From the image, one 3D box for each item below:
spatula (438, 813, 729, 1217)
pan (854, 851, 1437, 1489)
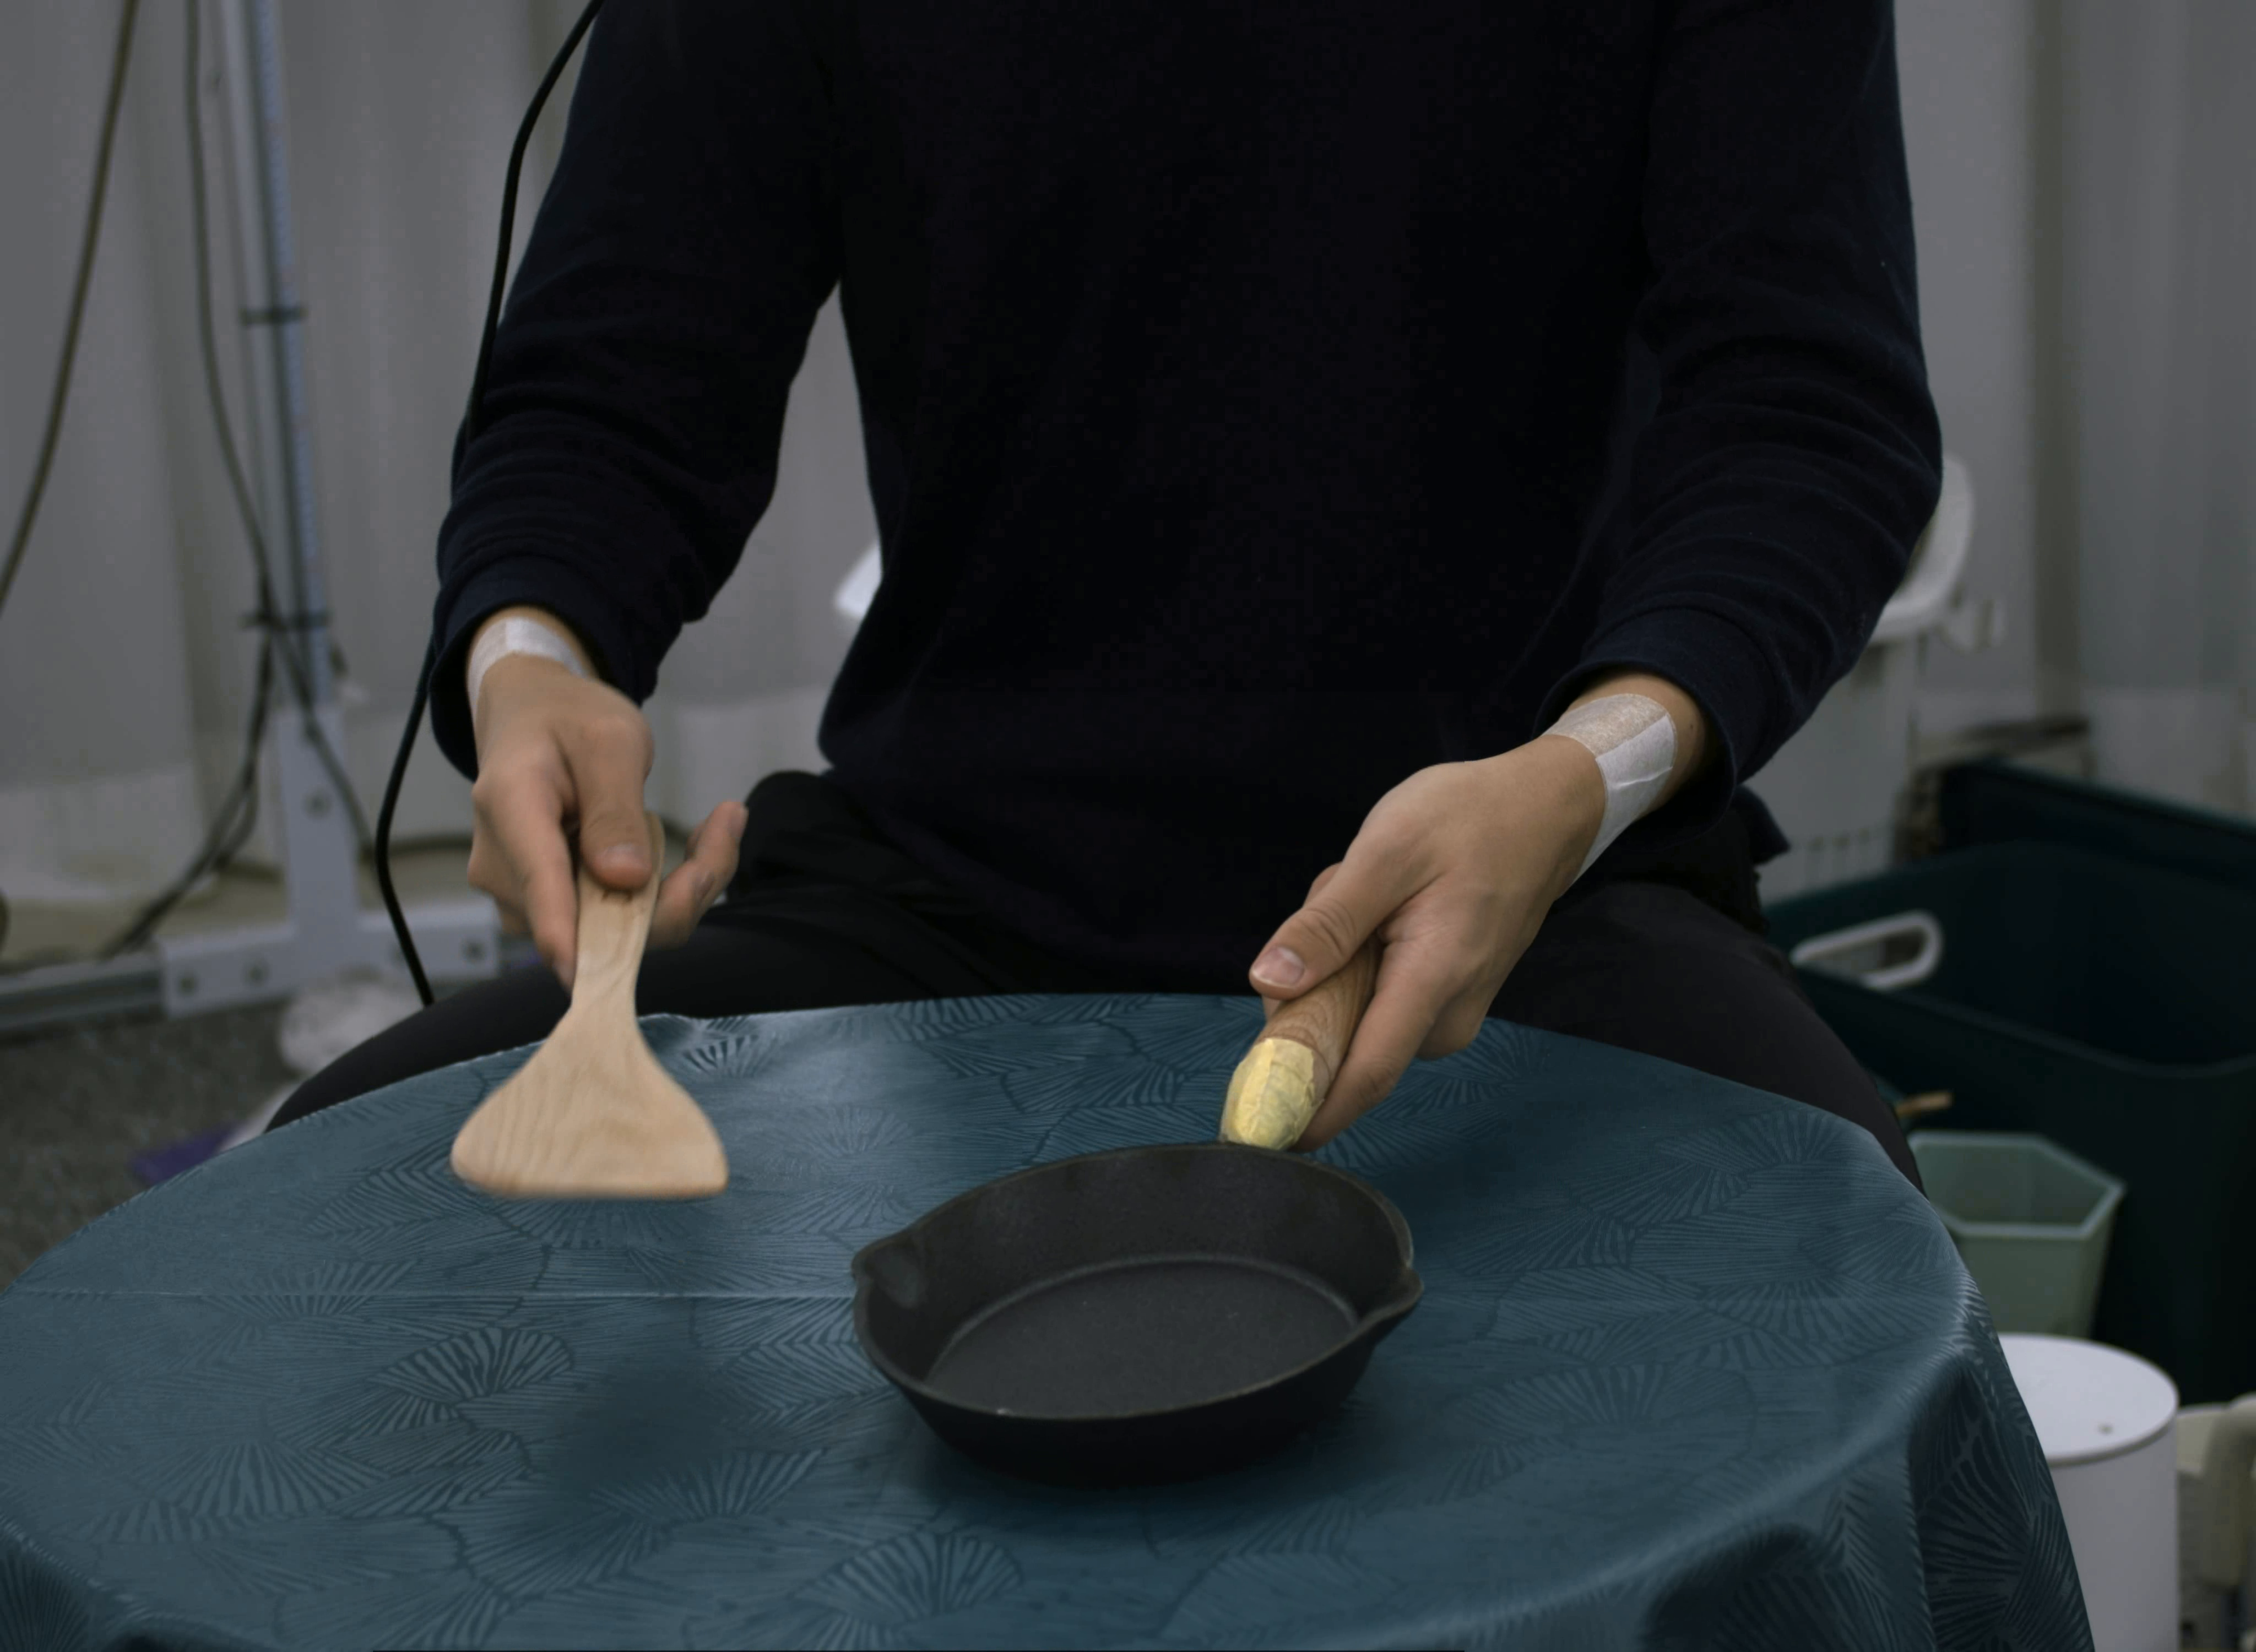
[{"bbox_3d":[-0.156,0.053,1.629,0.079,0.016,0.331,2,21,-4],"label":"spatula"},{"bbox_3d":[0.035,0.096,1.593,0.169,0.049,0.326,3,27,24],"label":"pan"}]
